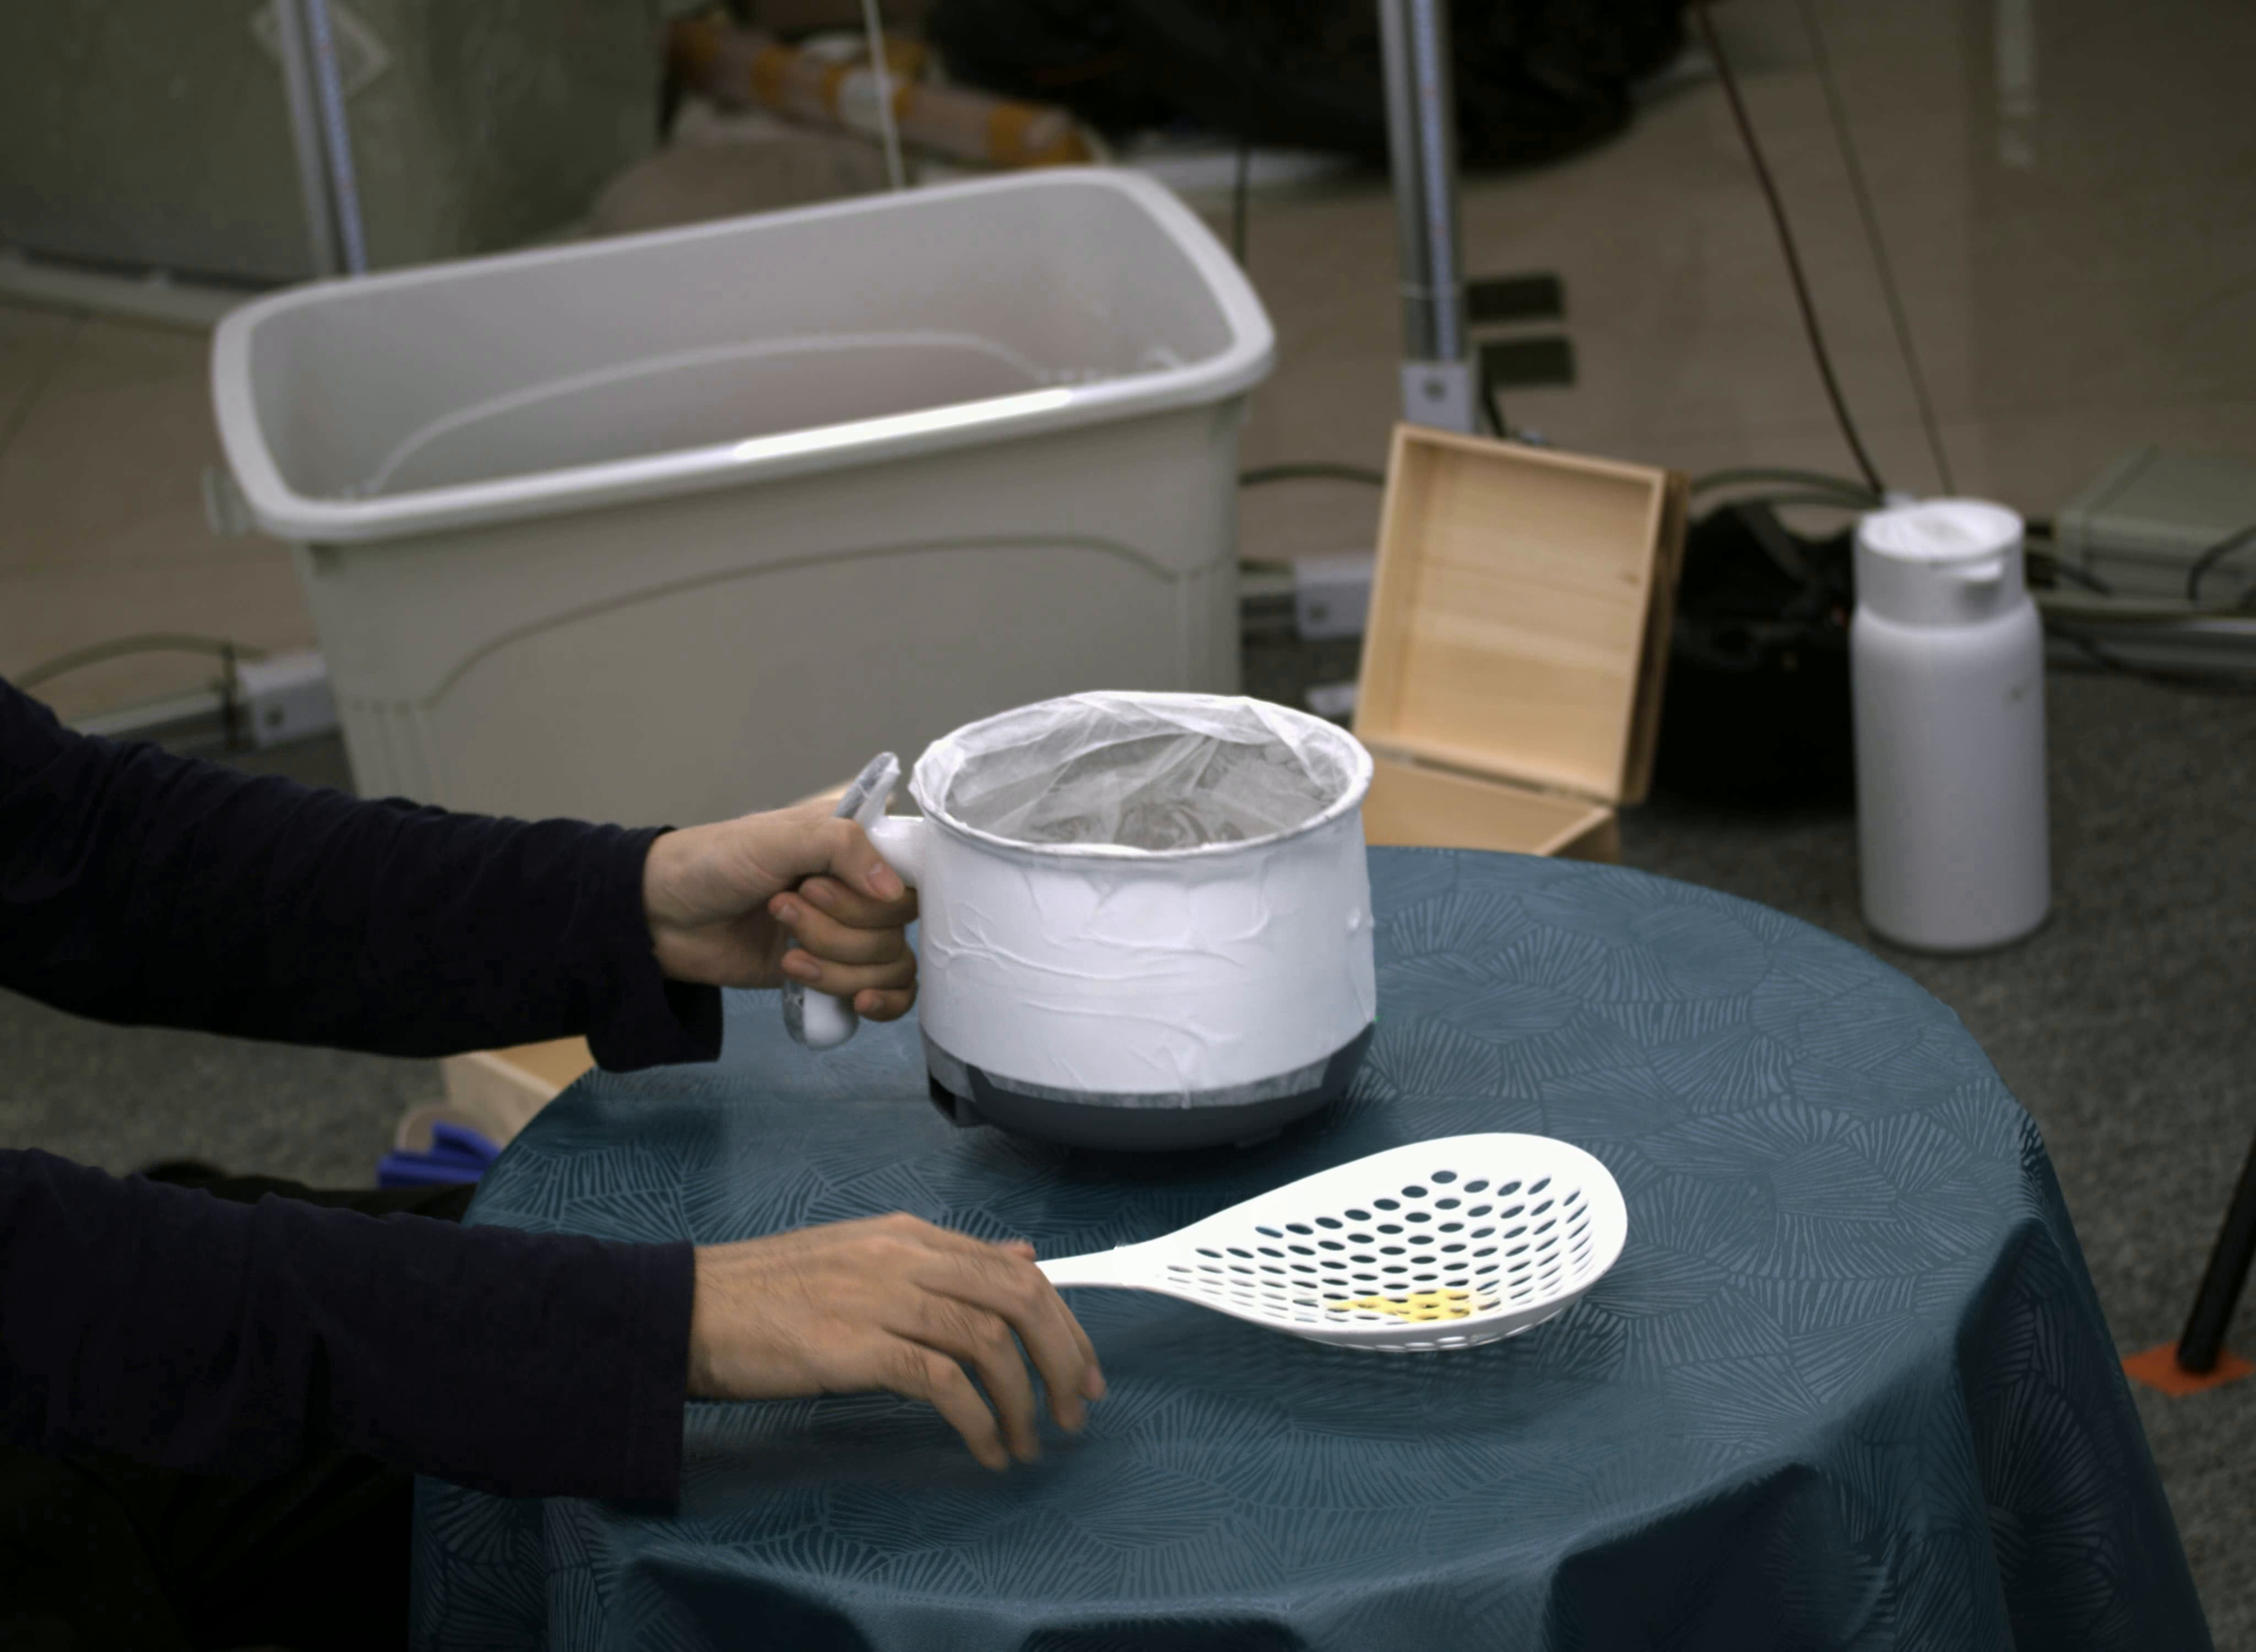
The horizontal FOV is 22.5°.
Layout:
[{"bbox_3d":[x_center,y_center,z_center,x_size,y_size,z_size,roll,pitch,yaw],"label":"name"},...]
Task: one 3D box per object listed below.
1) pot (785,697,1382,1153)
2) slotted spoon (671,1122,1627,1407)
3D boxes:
[{"bbox_3d":[-0.018,0.038,2.186,0.233,0.138,0.176,2,21,6],"label":"pot"},{"bbox_3d":[0.006,0.168,2.035,0.347,0.051,0.135,-5,26,2],"label":"slotted spoon"}]
